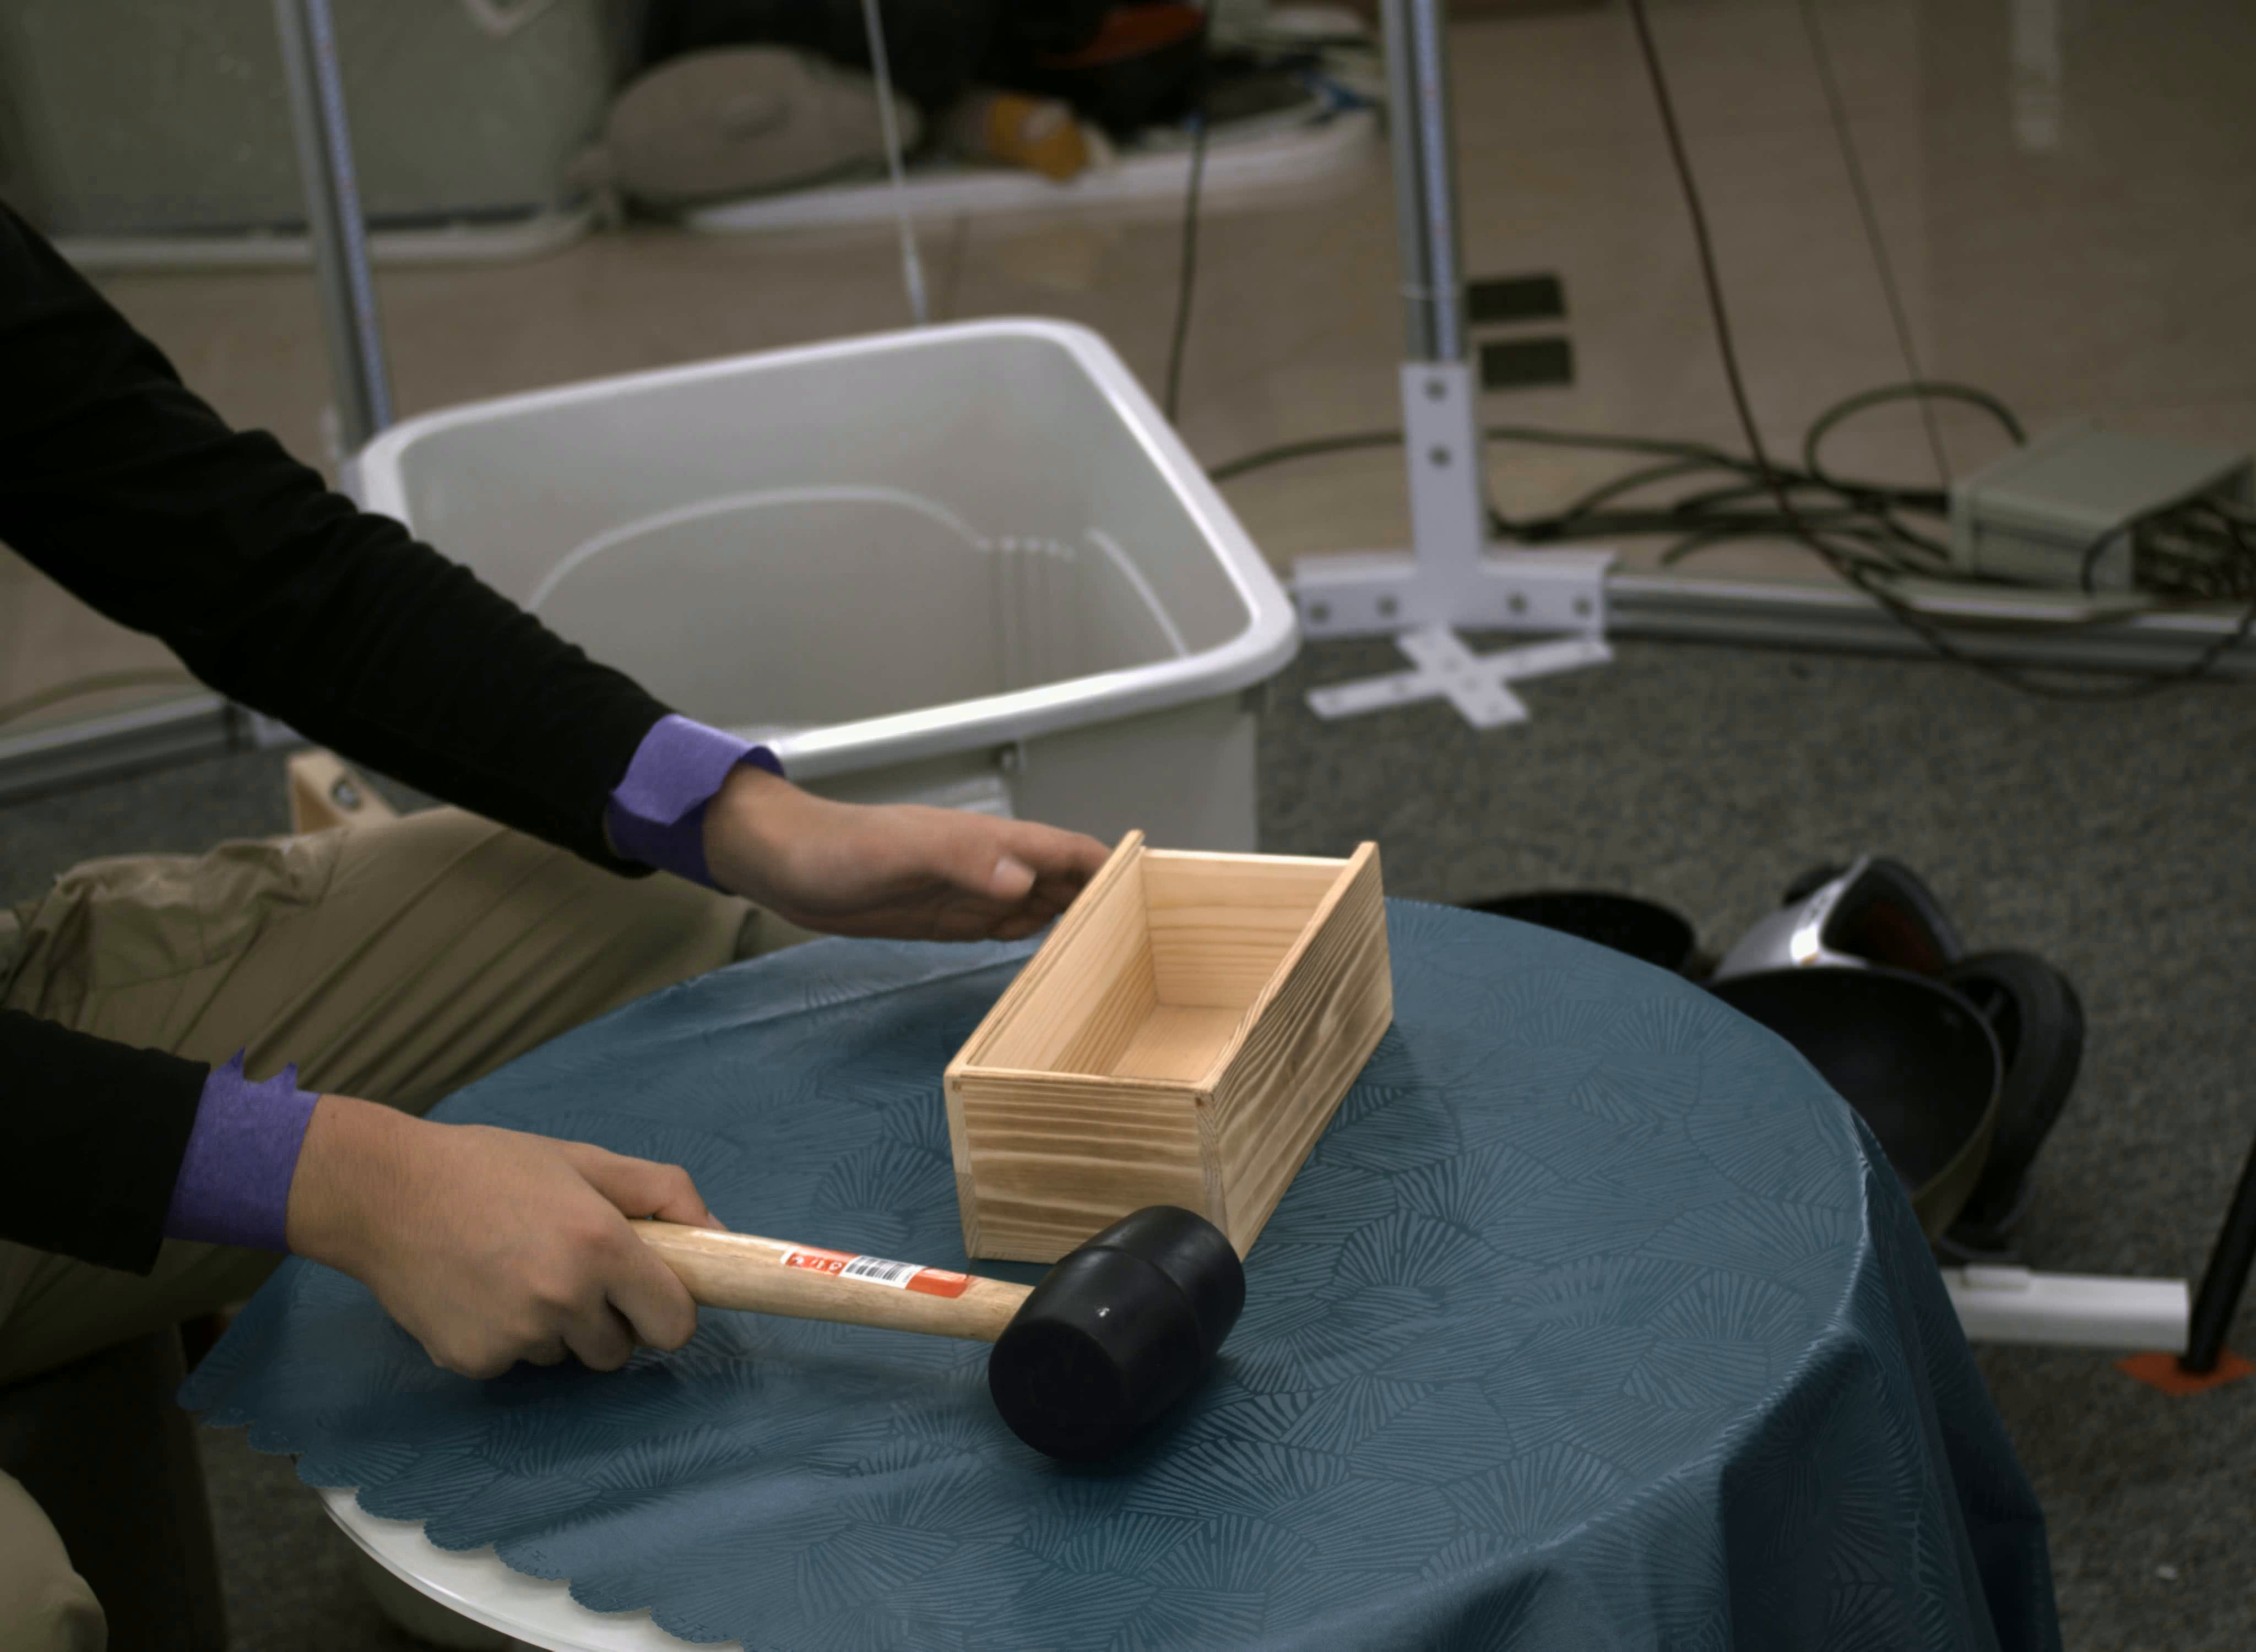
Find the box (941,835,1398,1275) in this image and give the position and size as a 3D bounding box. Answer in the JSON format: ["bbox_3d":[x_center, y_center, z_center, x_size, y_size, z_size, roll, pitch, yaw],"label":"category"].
[{"bbox_3d":[0.019,0.084,2.167,0.107,0.081,0.208,3,26,20],"label":"box"}]

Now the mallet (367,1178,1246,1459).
[{"bbox_3d":[-0.127,0.156,2.047,0.337,0.065,0.101,10,21,25],"label":"mallet"}]
